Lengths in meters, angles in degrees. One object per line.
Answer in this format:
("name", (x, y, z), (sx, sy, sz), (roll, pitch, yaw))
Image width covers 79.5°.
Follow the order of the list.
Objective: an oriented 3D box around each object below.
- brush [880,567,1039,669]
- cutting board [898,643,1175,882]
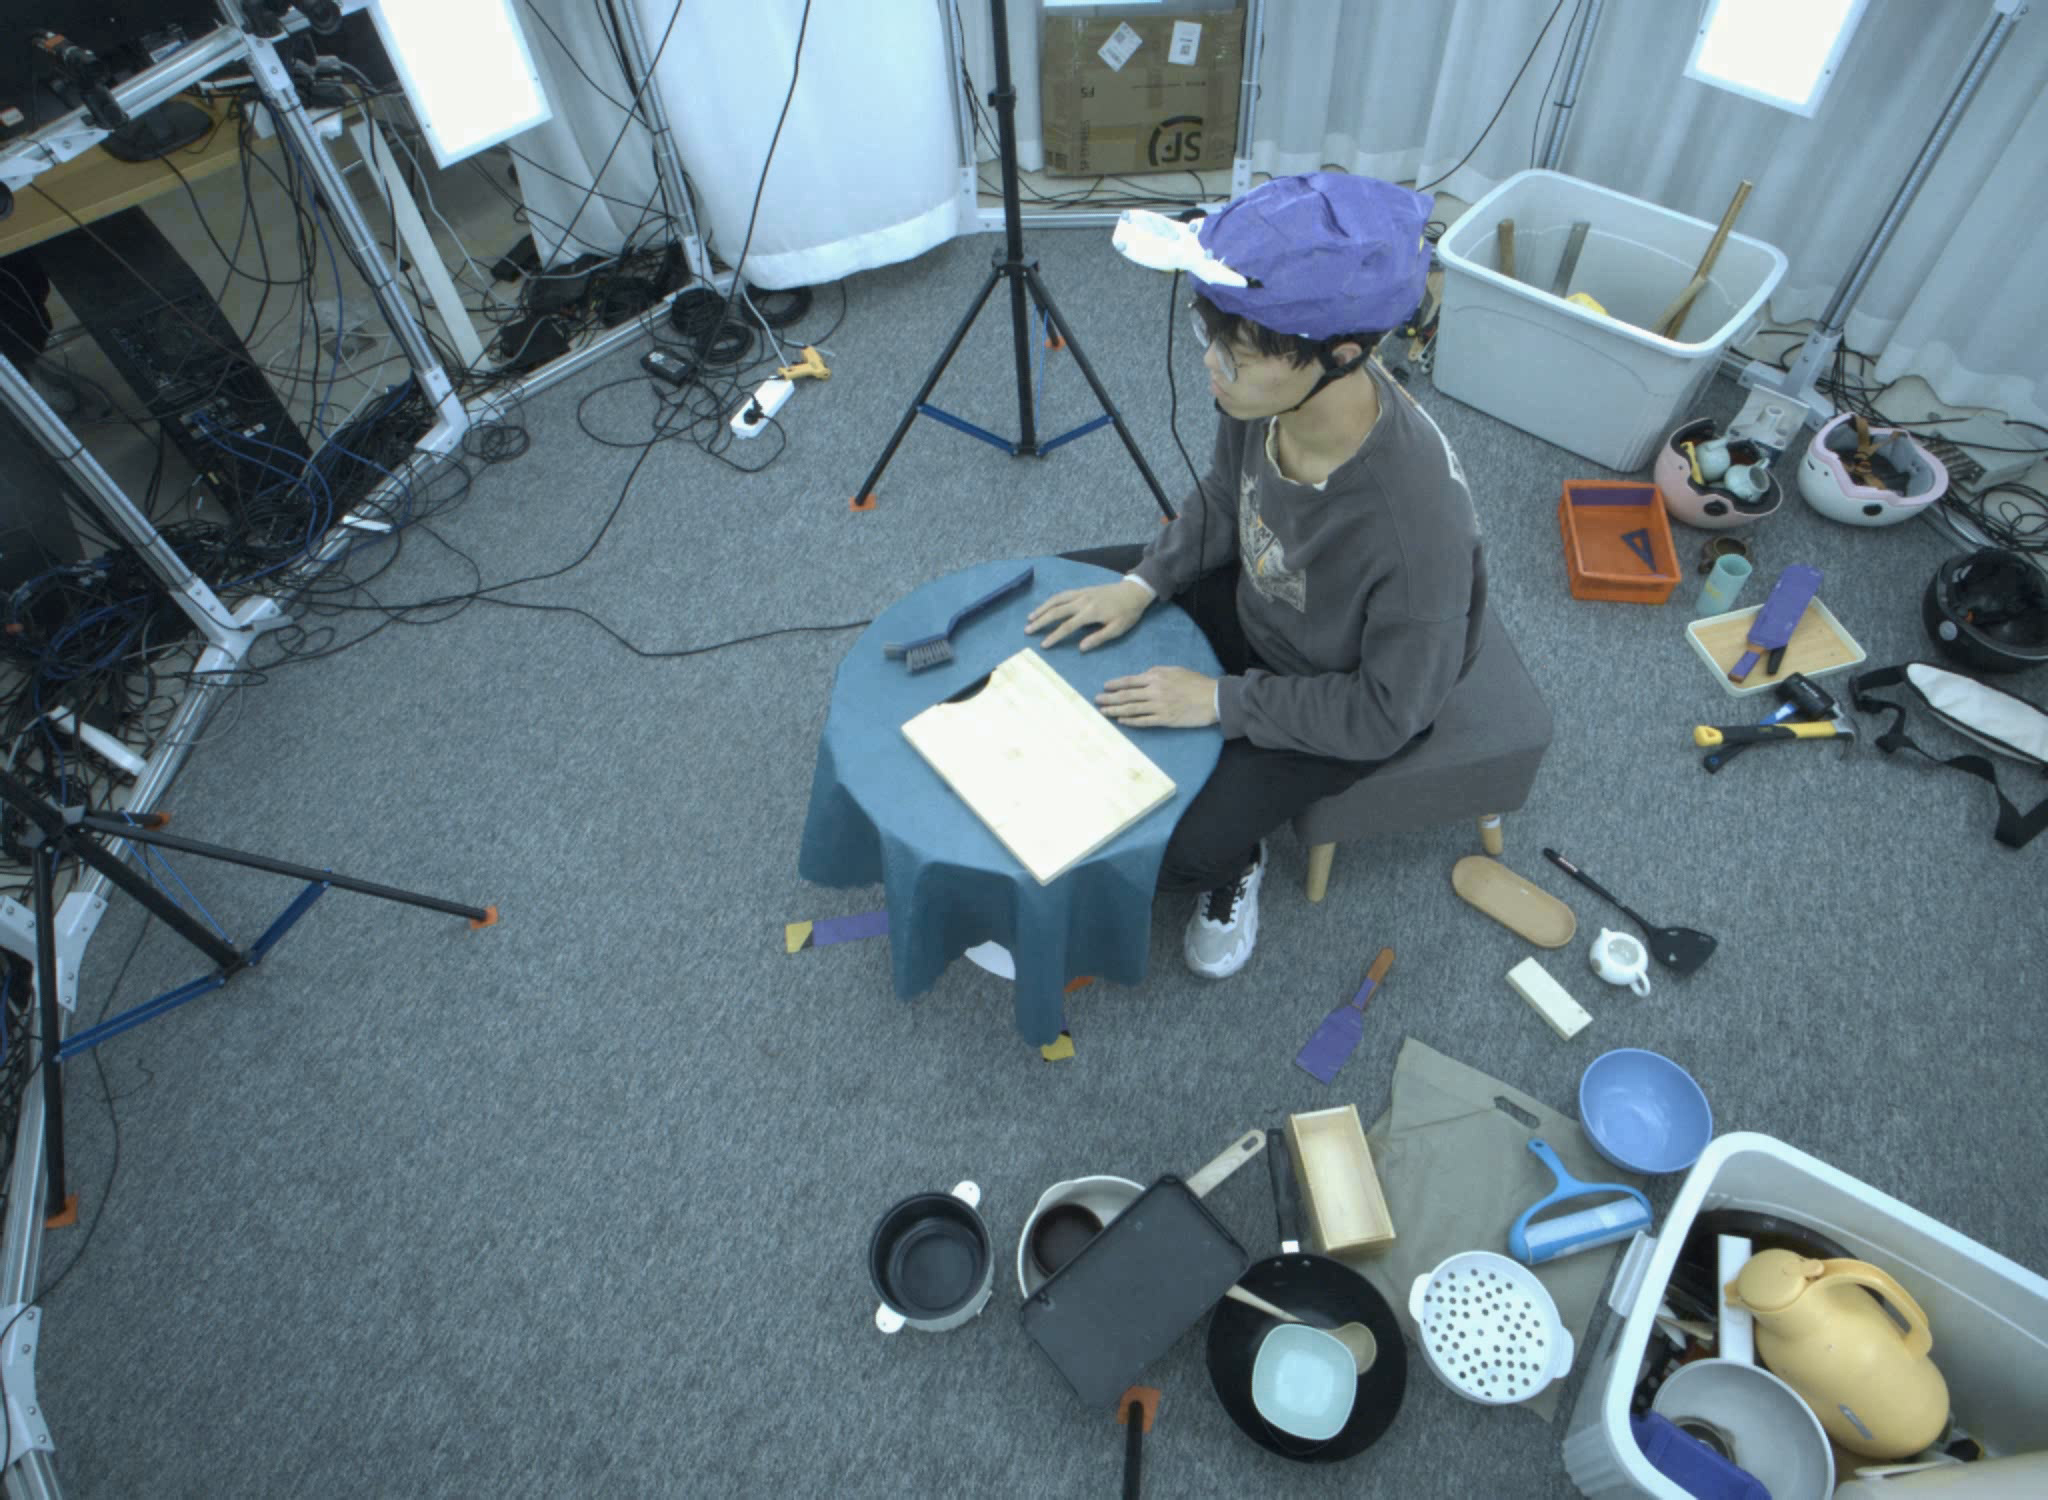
("brush", (-0.095, -0.217, 1.925), (0.094, 0.034, 0.275), (38, 65, 26))
("cutting board", (0.013, 0.009, 1.768), (0.253, 0.024, 0.342), (-34, 60, -21))
